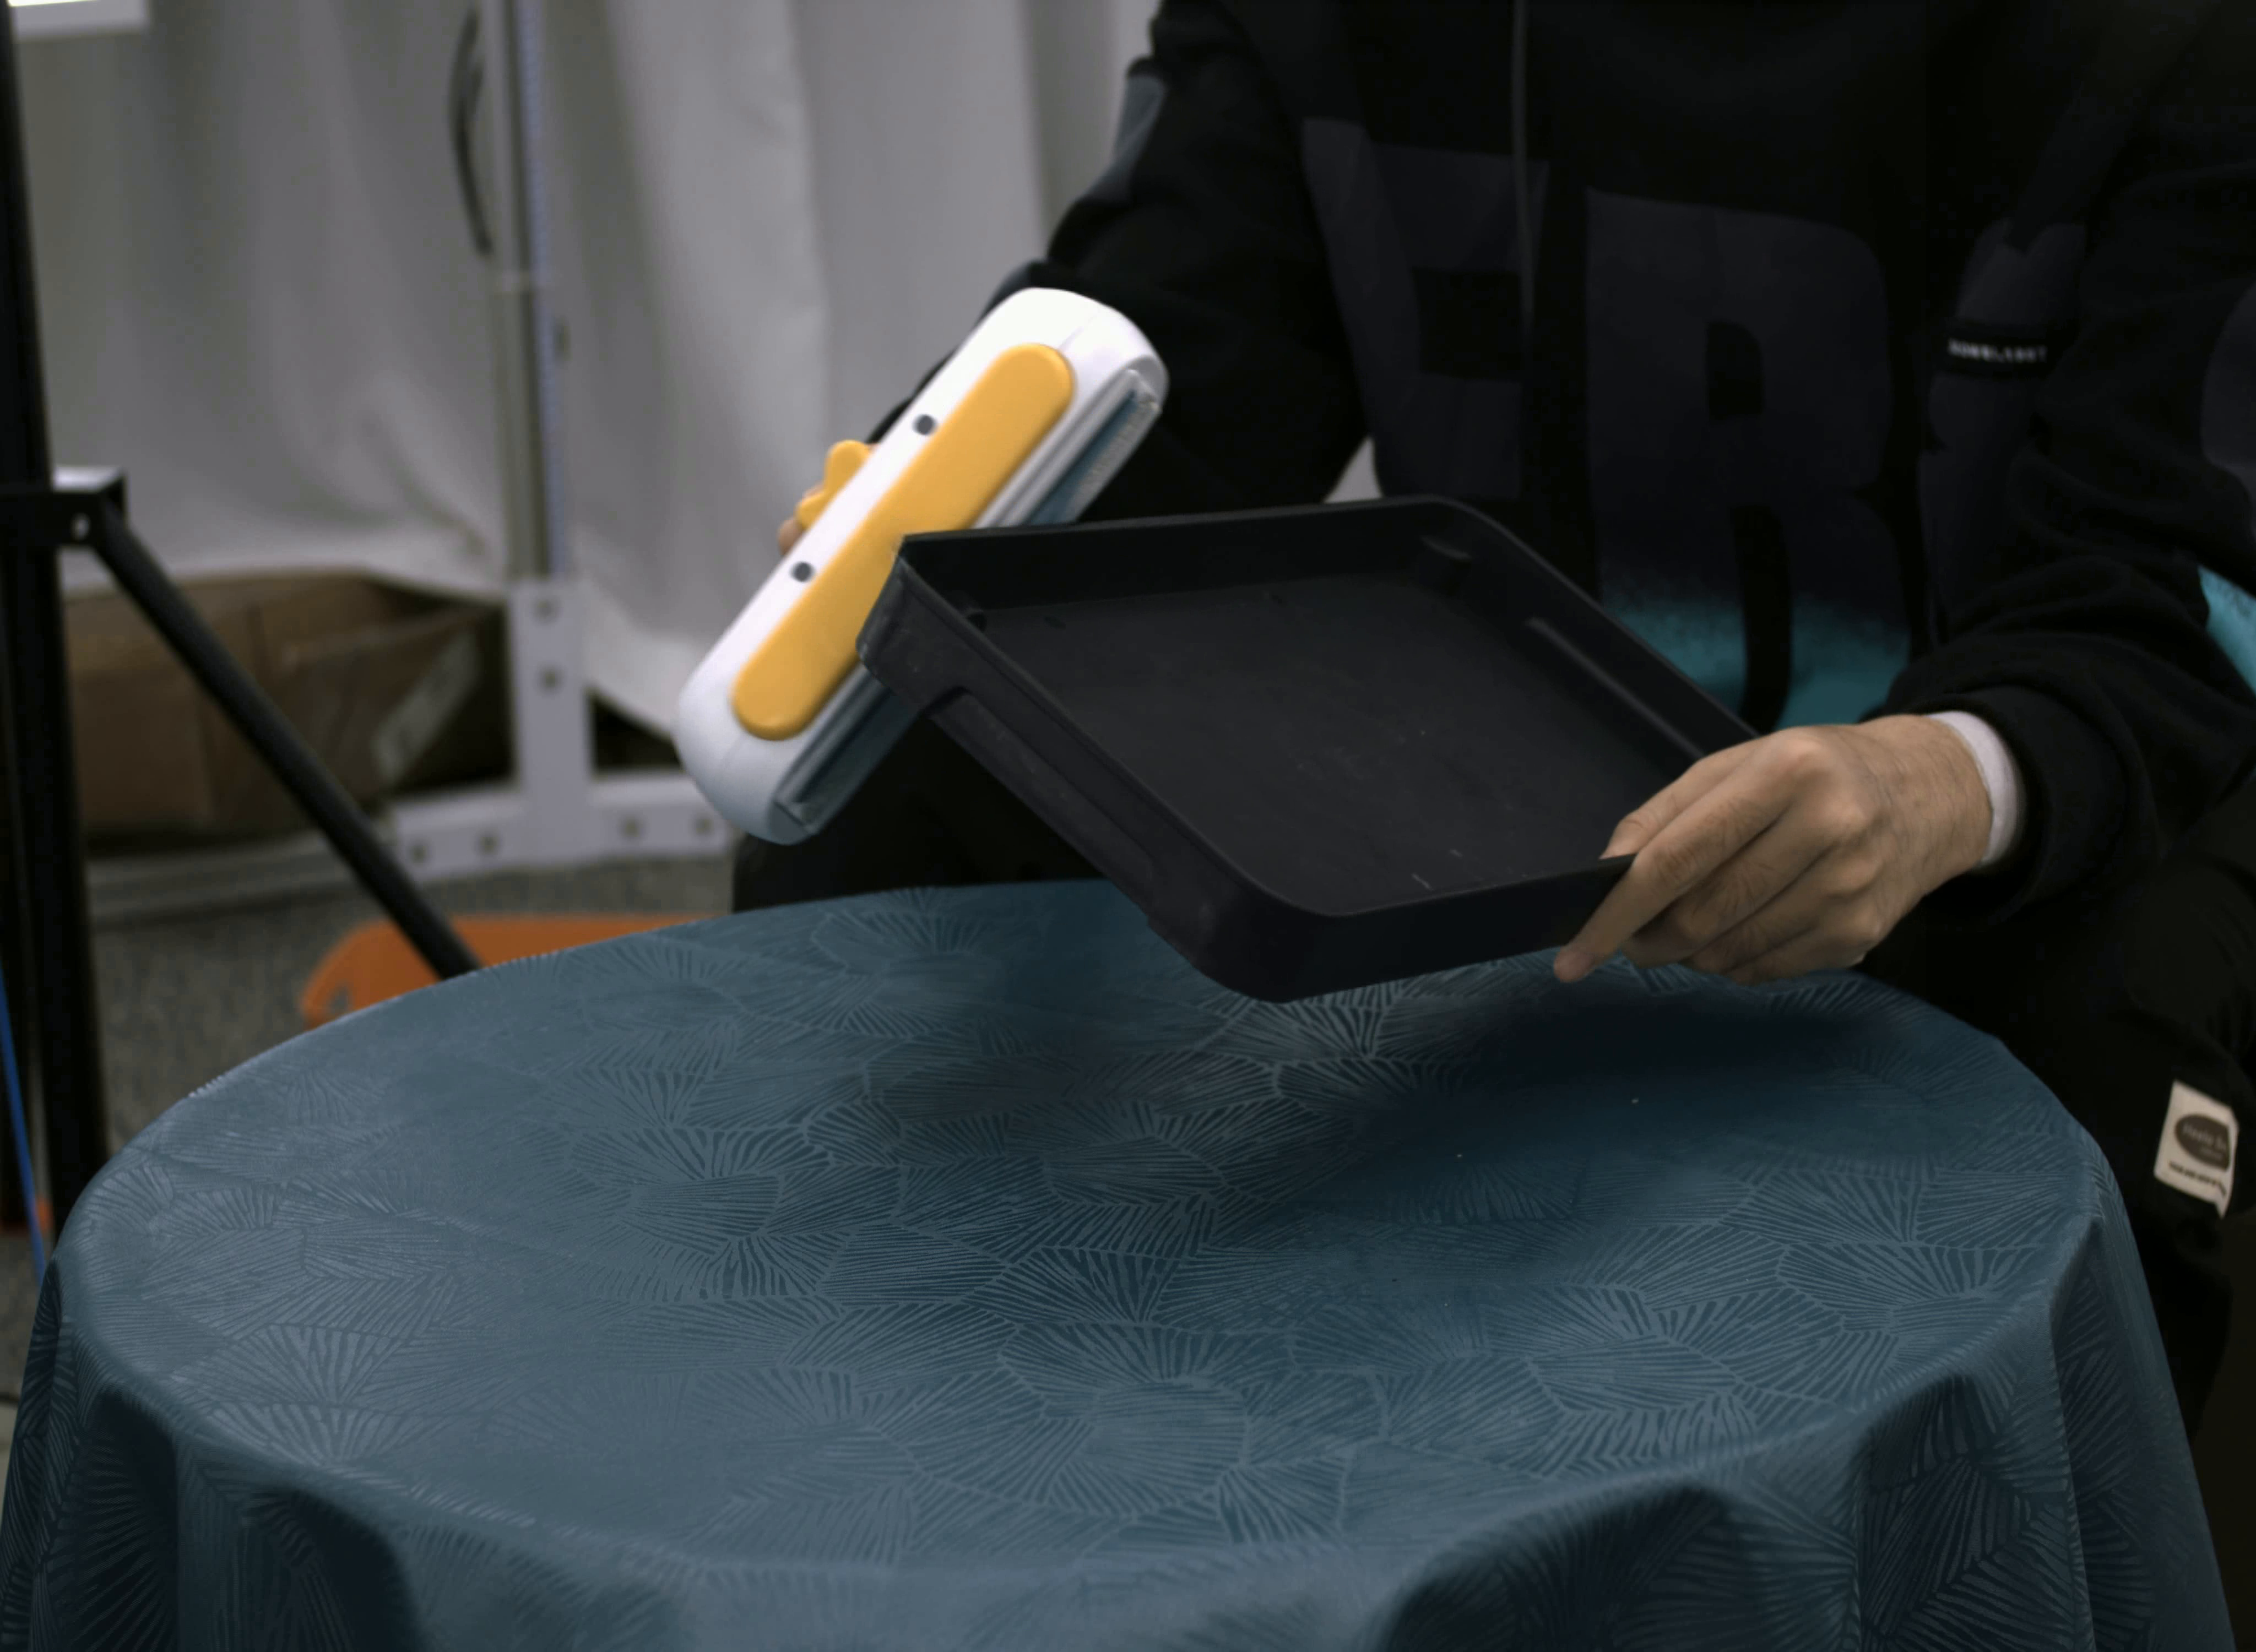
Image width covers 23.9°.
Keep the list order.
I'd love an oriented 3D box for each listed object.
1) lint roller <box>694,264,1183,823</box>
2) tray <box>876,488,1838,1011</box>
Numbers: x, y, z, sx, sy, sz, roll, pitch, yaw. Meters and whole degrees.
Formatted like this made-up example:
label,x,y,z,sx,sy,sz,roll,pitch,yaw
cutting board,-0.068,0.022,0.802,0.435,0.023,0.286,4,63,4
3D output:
label,x,y,z,sx,sy,sz,roll,pitch,yaw
lint roller,-0.061,-0.078,1.672,0.074,0.193,0.191,34,-8,8
tray,0.075,-0.029,1.615,0.187,0.037,0.310,41,27,25
